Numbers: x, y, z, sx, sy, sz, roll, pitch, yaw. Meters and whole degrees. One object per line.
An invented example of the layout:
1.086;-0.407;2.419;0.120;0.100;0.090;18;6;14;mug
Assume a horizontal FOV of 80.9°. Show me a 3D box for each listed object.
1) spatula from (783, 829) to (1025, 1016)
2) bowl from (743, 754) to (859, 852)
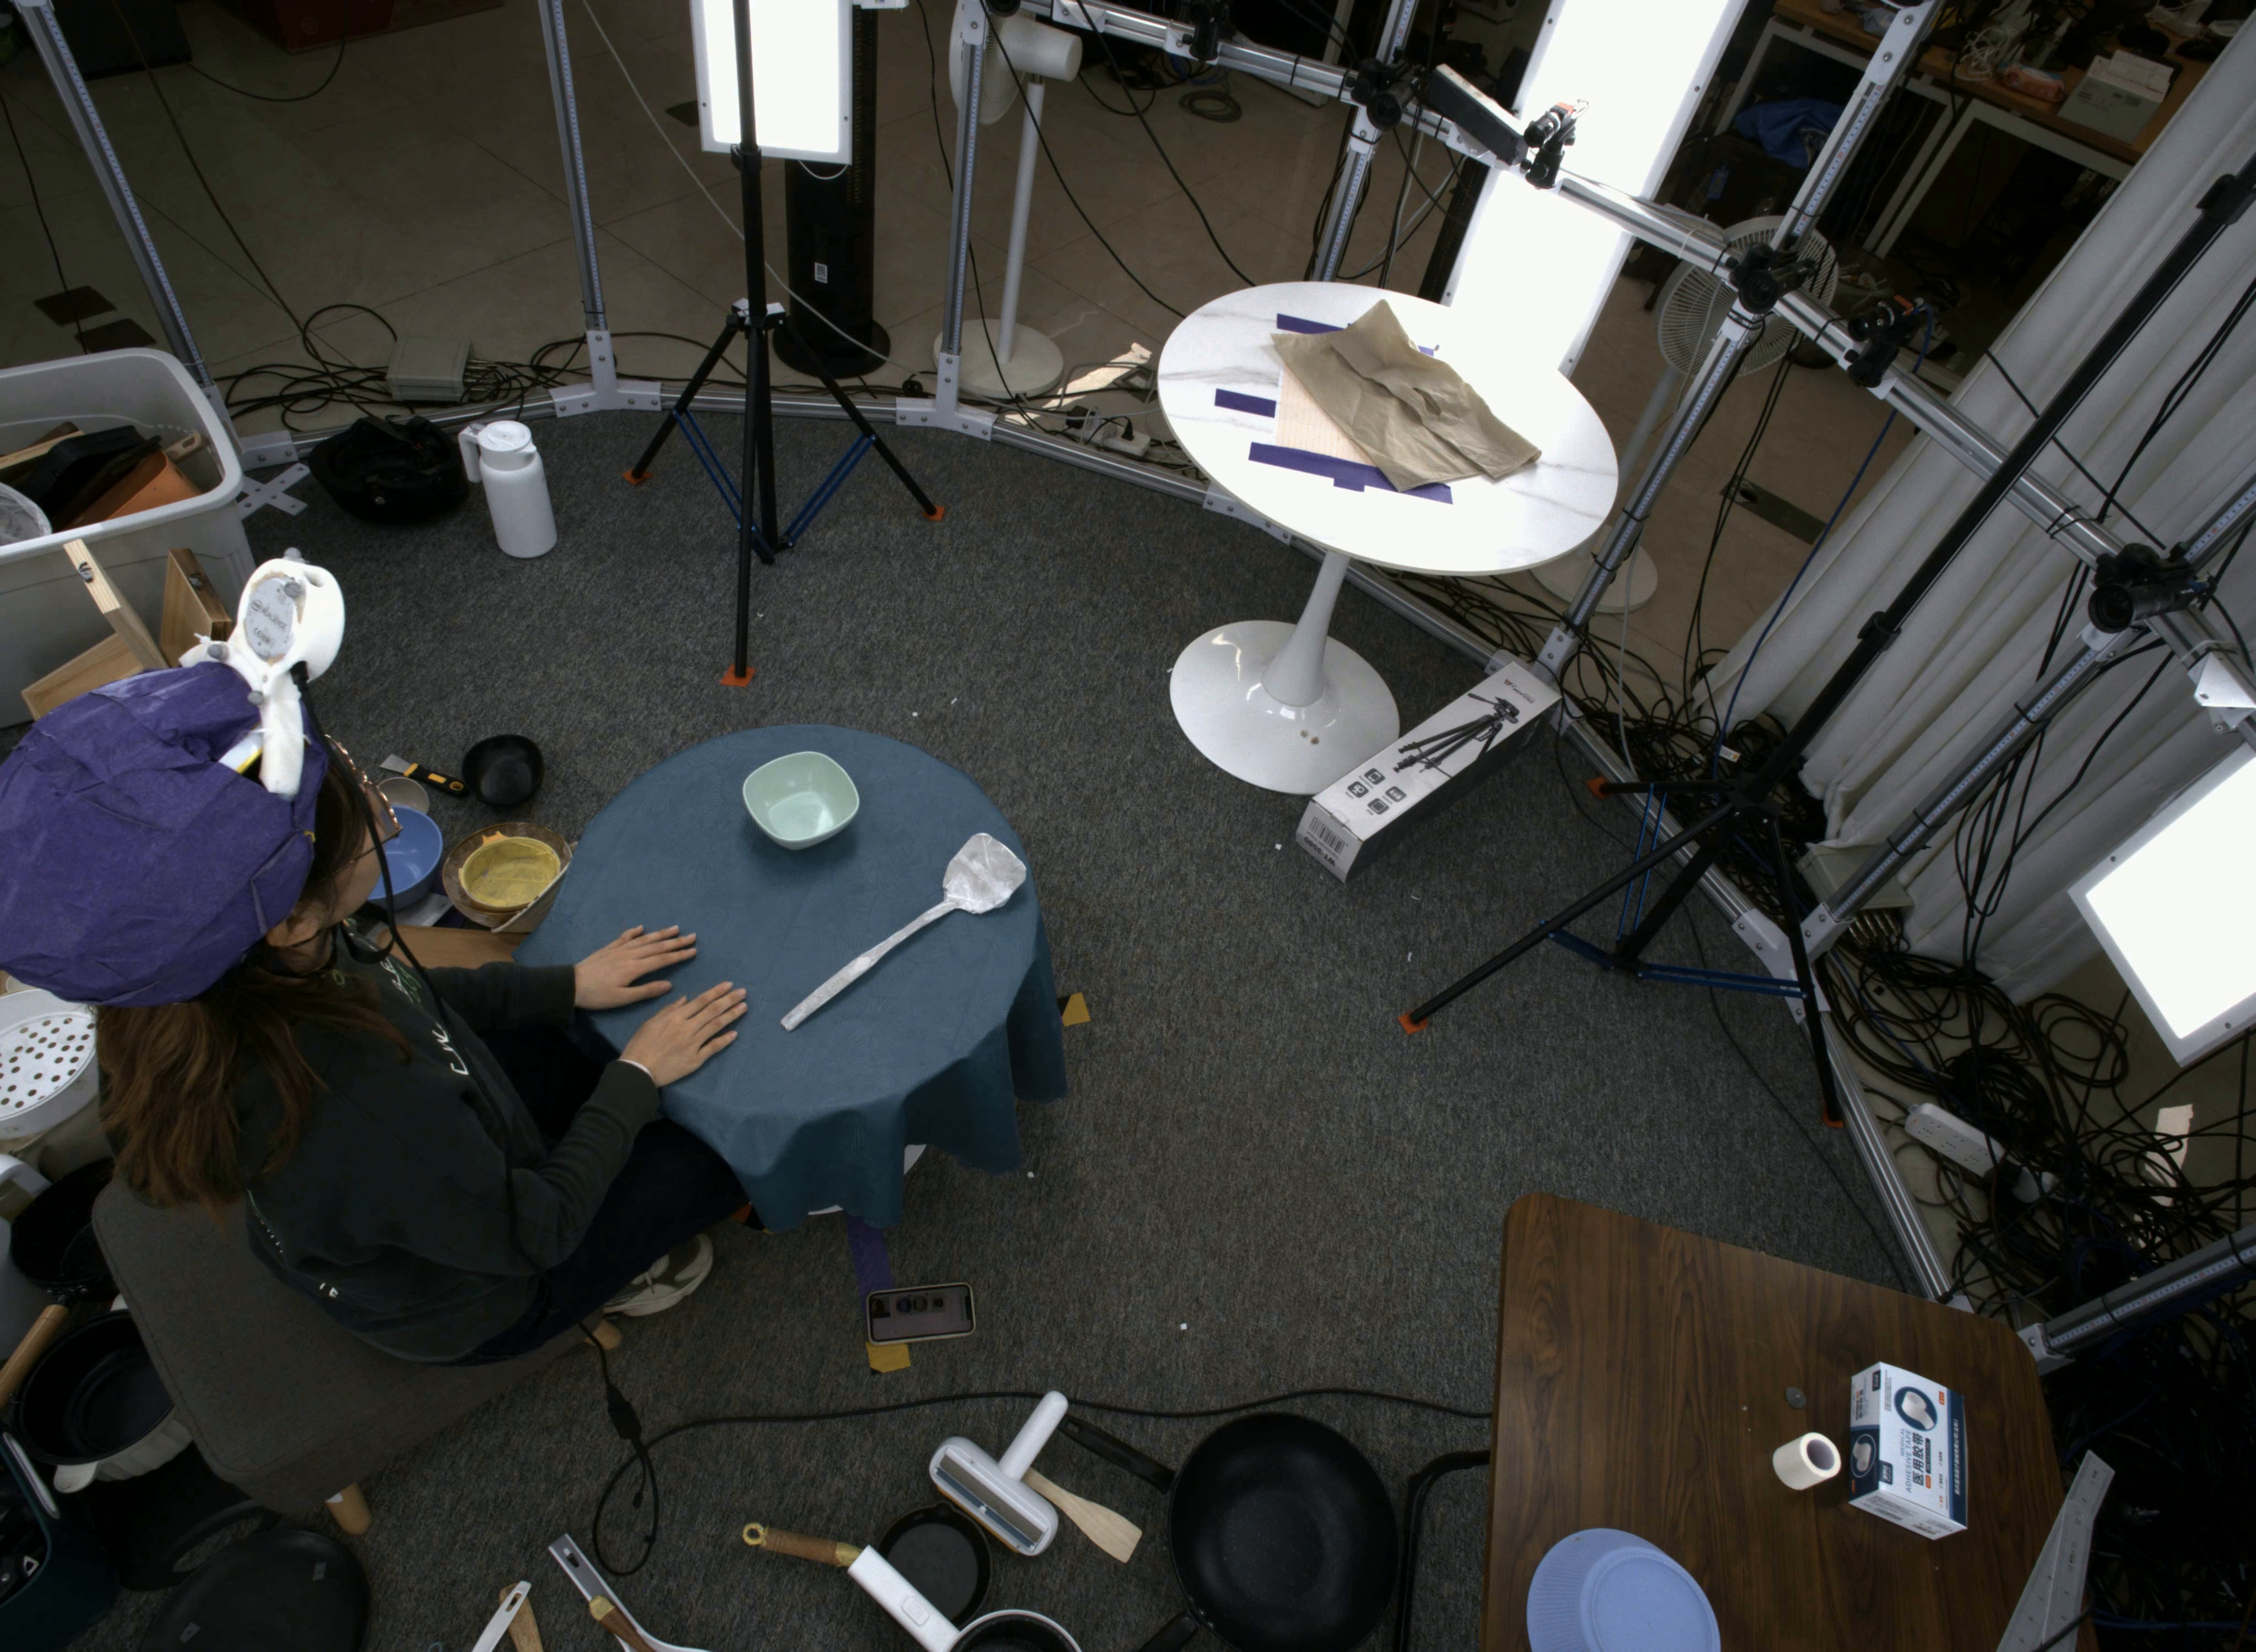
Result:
-0.284;0.128;1.645;0.097;0.045;0.365;43;55;16;spatula
-0.430;-0.022;1.709;0.151;0.060;0.148;8;50;-7;bowl
